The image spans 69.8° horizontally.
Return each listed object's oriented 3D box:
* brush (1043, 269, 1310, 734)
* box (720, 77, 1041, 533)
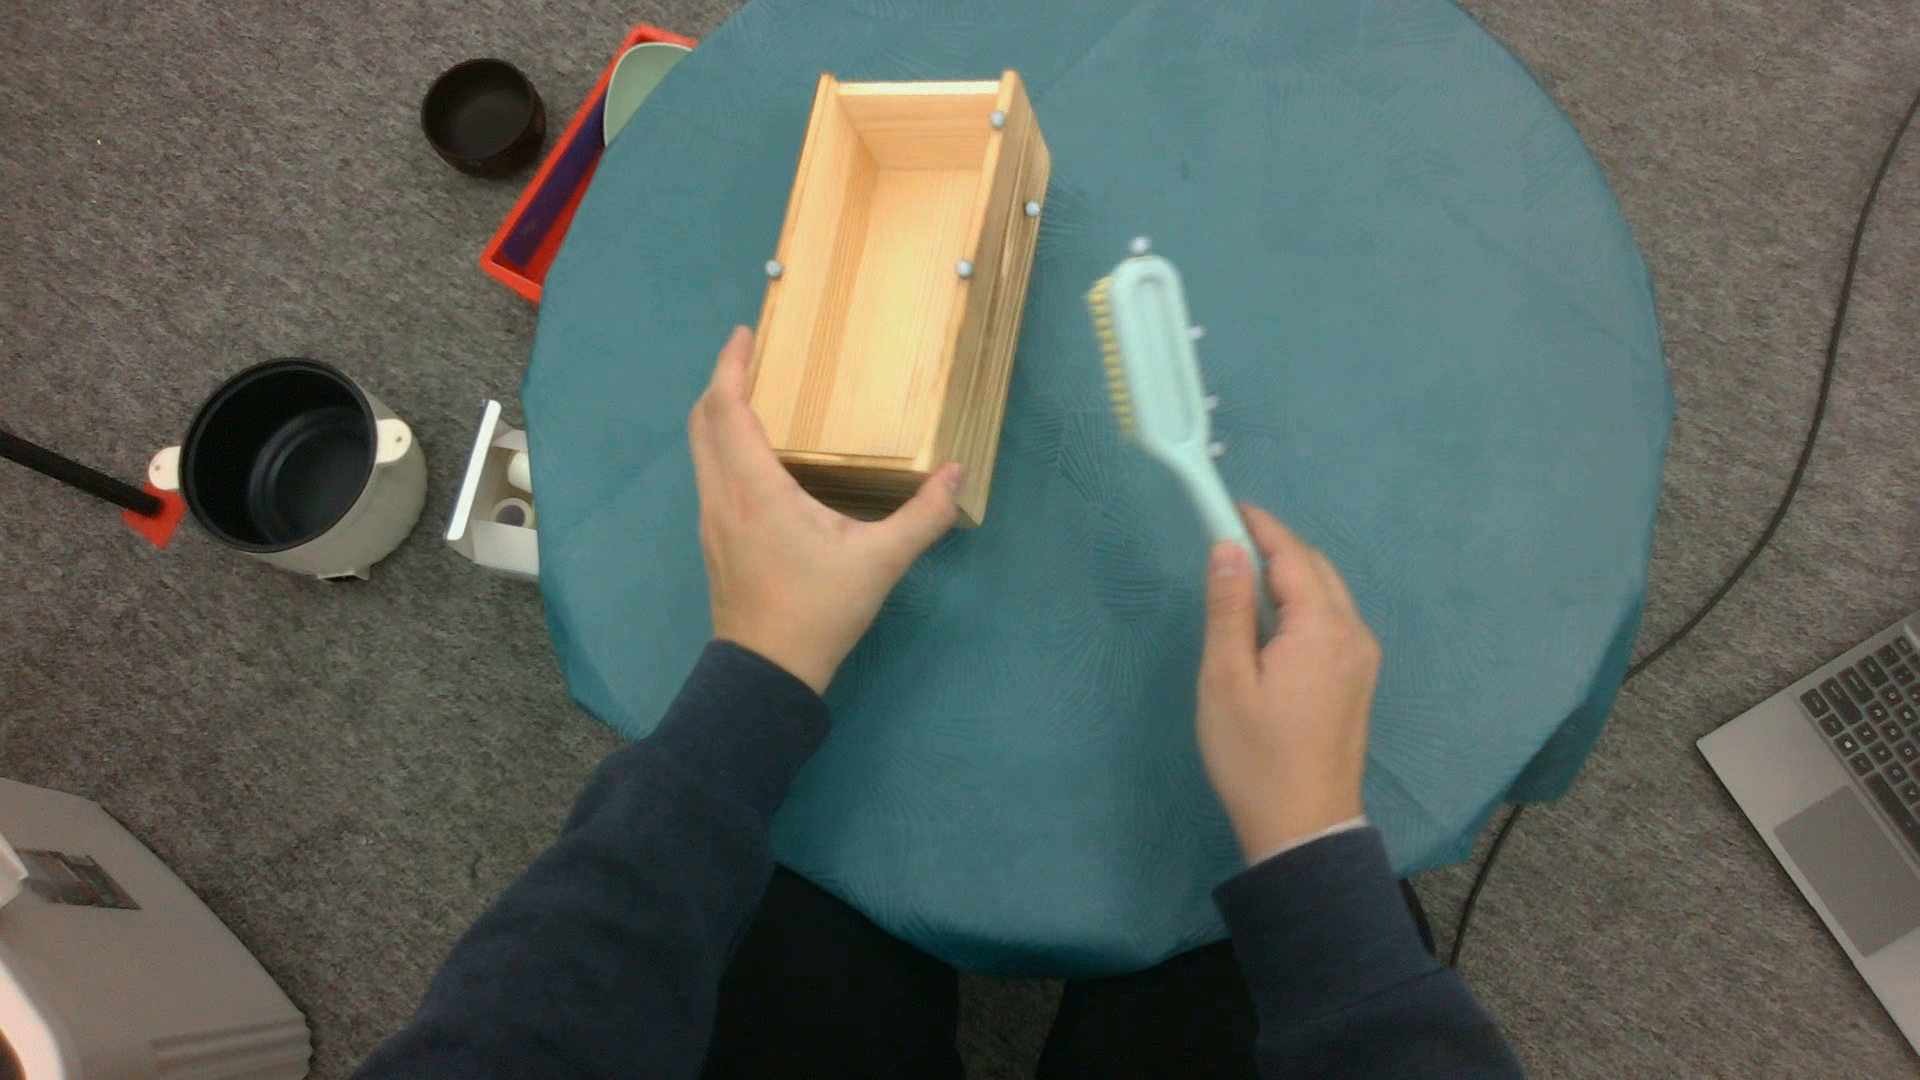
[{"bbox_3d":[0.102,-0.015,0.628,0.038,0.049,0.228,-31,94,-25],"label":"brush"},{"bbox_3d":[-0.036,-0.115,0.697,0.107,0.080,0.212,0,71,27],"label":"box"}]
